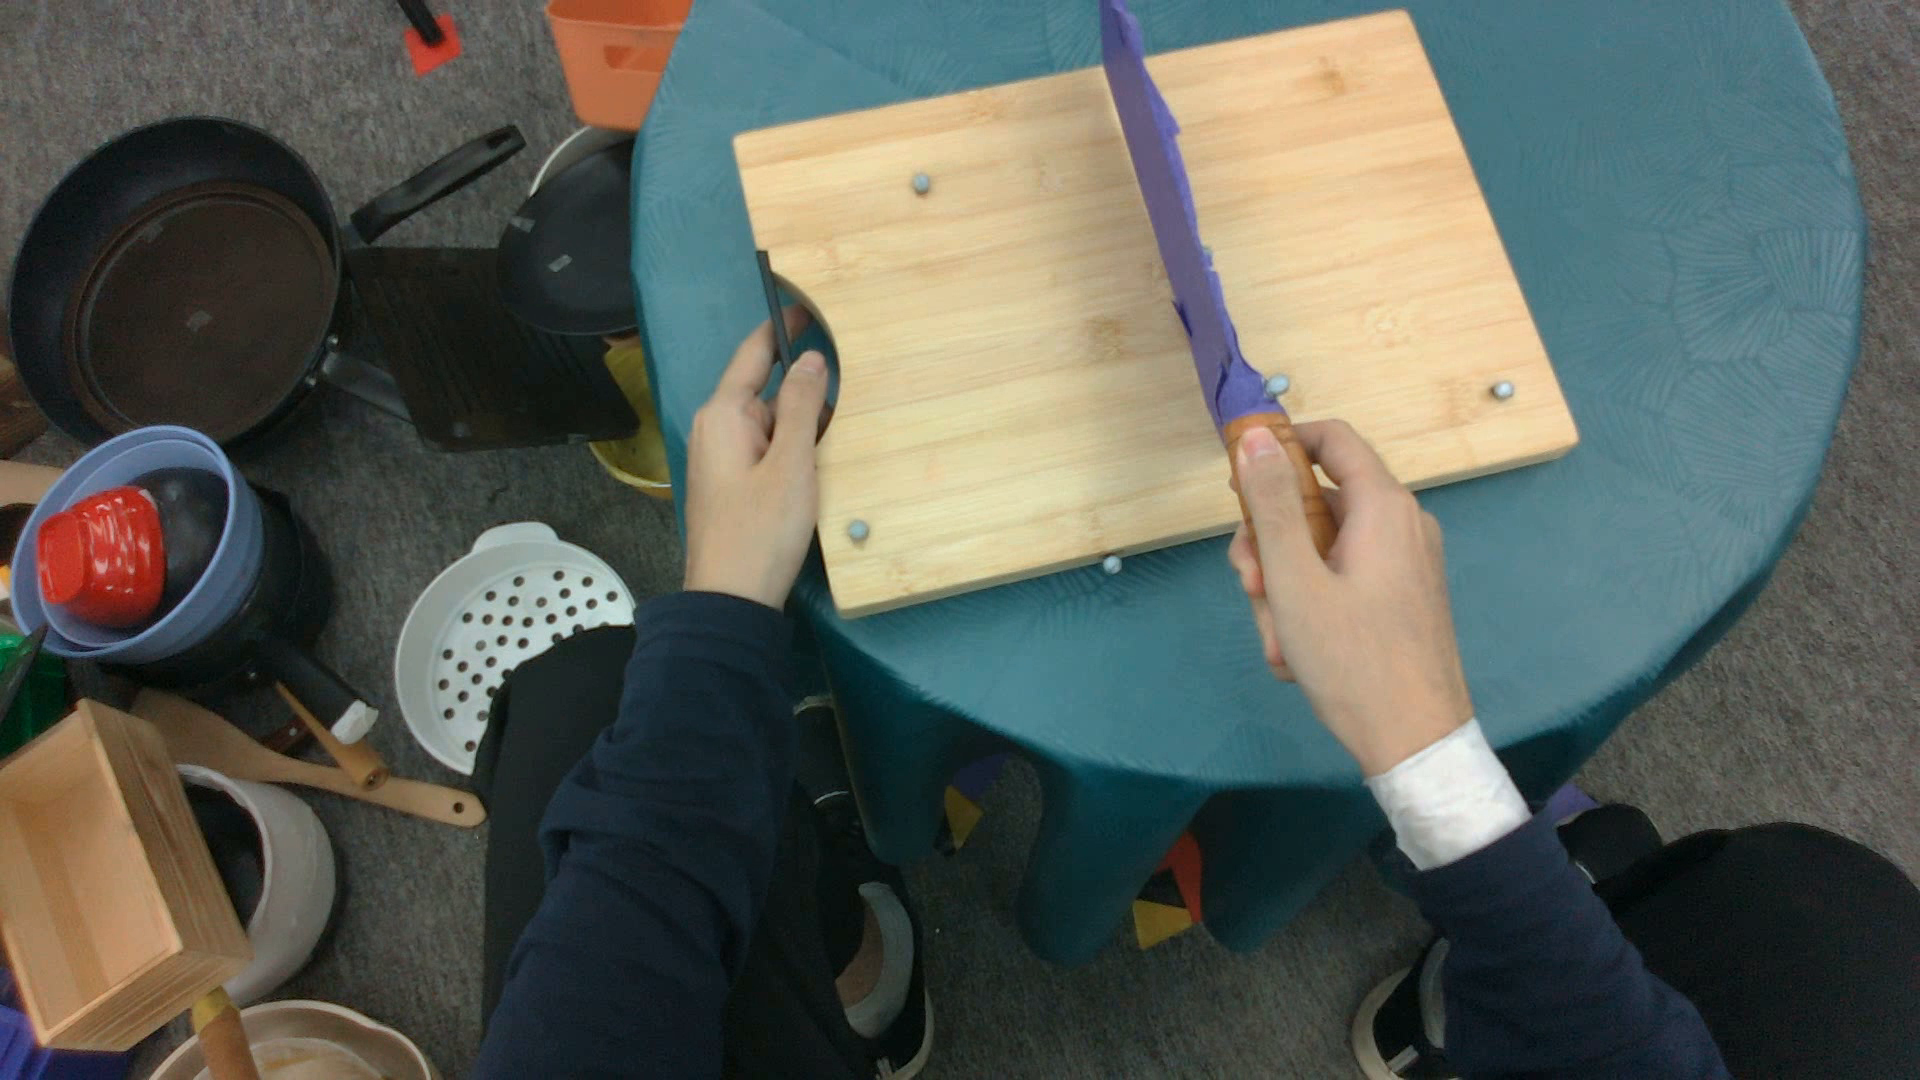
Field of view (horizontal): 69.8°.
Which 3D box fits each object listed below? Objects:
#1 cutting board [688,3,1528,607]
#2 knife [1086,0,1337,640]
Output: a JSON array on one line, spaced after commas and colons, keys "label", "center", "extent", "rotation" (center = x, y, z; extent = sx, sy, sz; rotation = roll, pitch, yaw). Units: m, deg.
[{"label": "cutting board", "center": [0.067, -0.120, 0.646], "extent": [0.349, 0.023, 0.251], "rotation": [-13, 73, -7]}, {"label": "knife", "center": [0.098, -0.106, 0.581], "extent": [0.032, 0.103, 0.316], "rotation": [-13, 74, 4]}]
